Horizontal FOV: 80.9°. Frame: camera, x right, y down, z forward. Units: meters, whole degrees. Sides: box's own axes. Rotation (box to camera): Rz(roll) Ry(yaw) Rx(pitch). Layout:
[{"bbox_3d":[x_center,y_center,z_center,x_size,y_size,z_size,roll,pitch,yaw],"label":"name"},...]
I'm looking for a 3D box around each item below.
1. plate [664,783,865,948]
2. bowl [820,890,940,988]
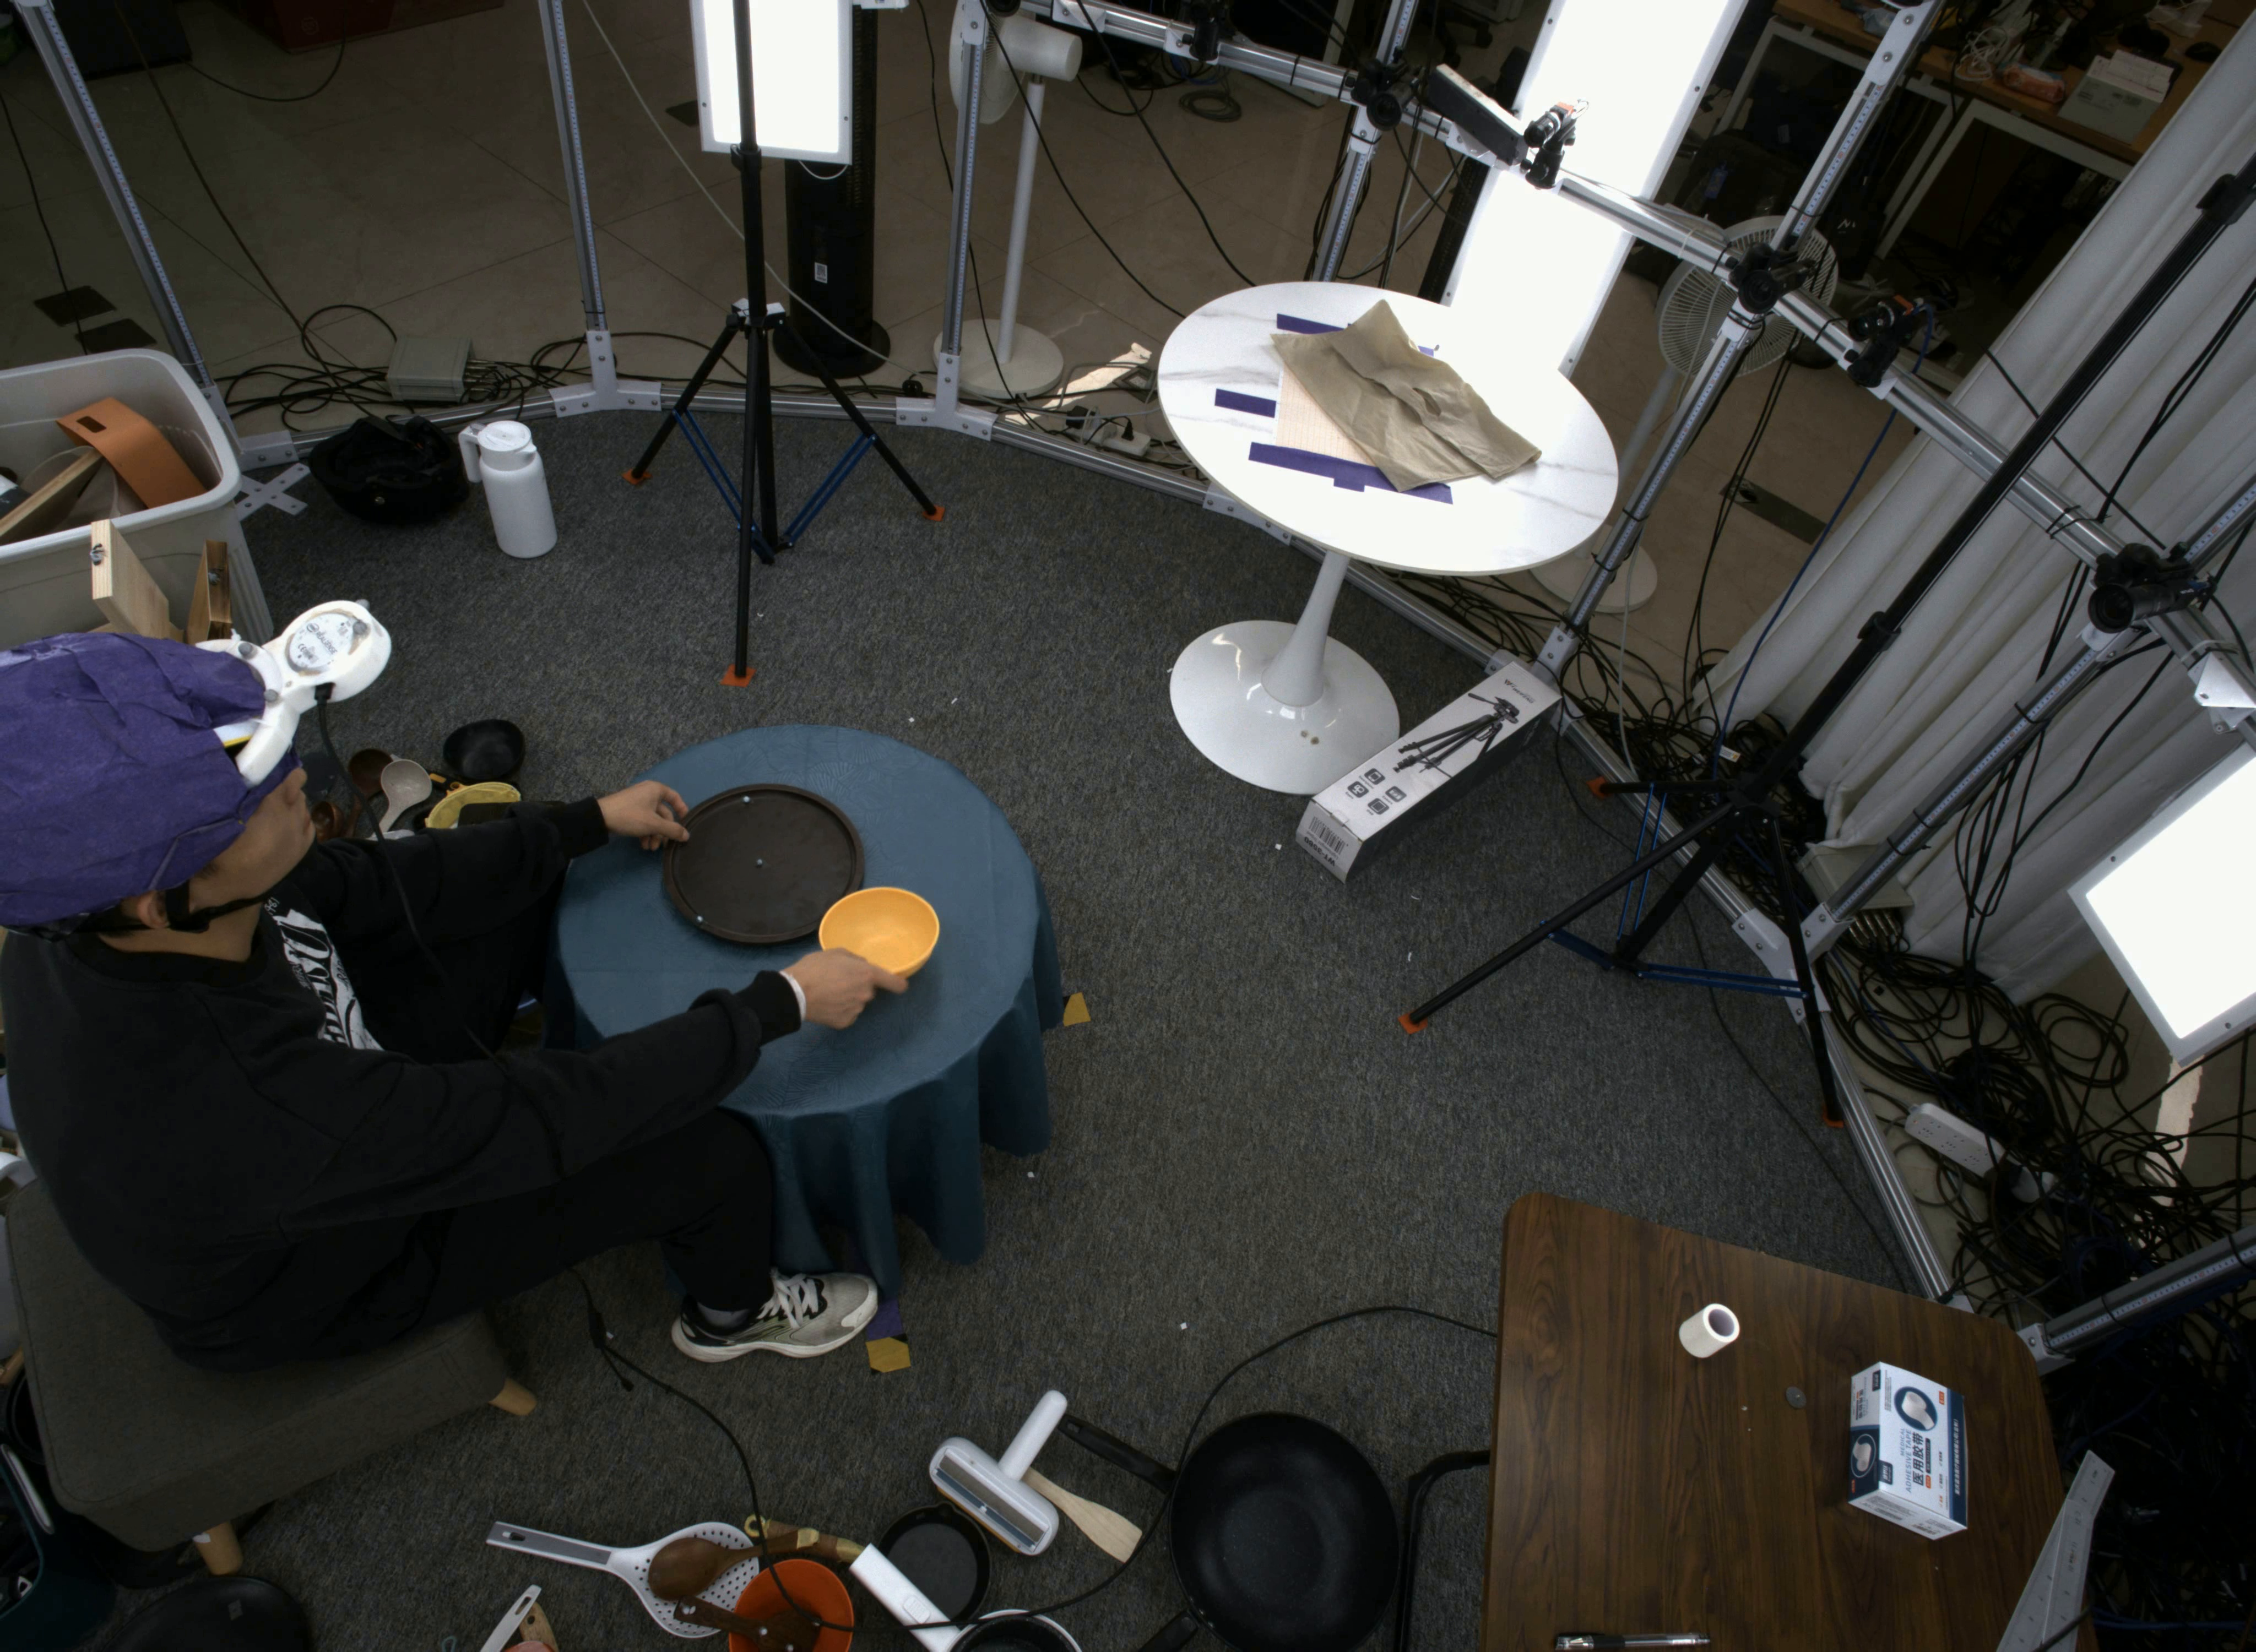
[{"bbox_3d":[-0.467,0.048,1.668,0.254,0.029,0.250,8,54,-9],"label":"plate"},{"bbox_3d":[-0.302,0.148,1.598,0.144,0.062,0.142,4,44,-2],"label":"bowl"}]
